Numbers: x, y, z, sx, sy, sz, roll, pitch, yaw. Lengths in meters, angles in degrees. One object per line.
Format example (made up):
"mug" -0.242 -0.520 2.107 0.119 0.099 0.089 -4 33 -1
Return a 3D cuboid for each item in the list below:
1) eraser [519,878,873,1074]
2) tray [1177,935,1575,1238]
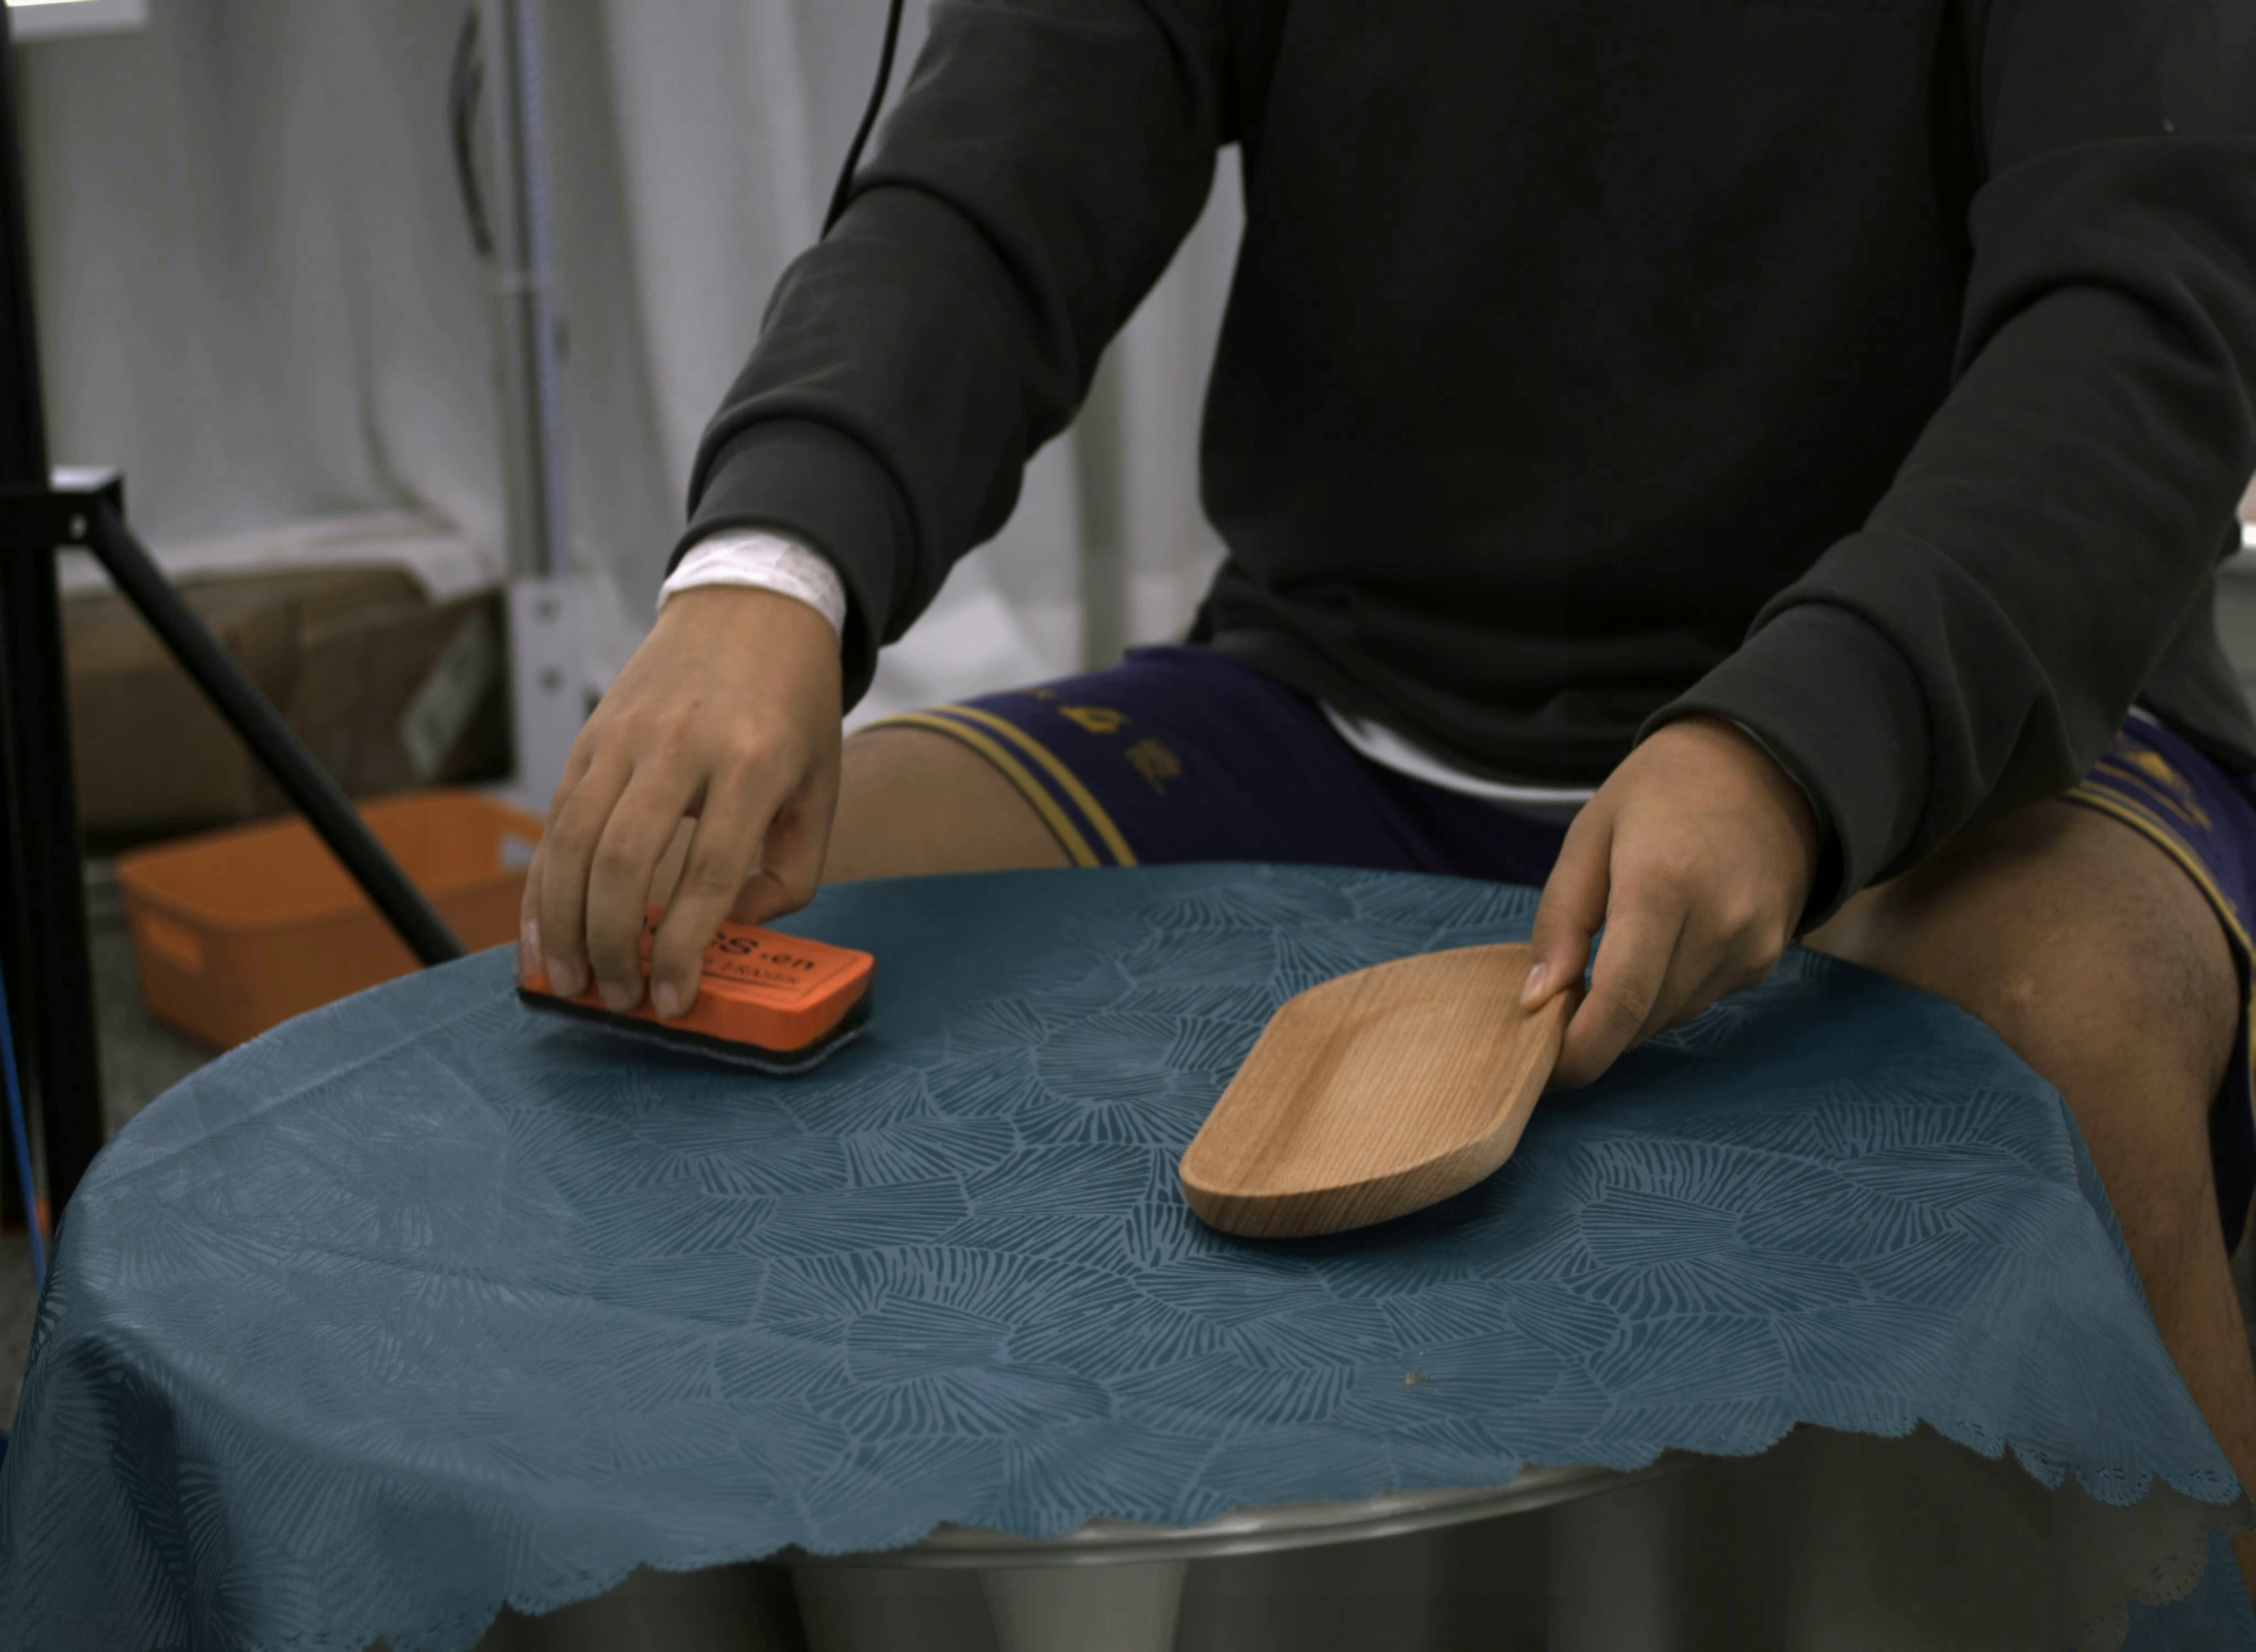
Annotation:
"eraser" -0.139 0.048 1.714 0.110 0.023 0.058 13 32 27
"tray" 0.078 0.077 1.599 0.102 0.020 0.230 -9 13 15
